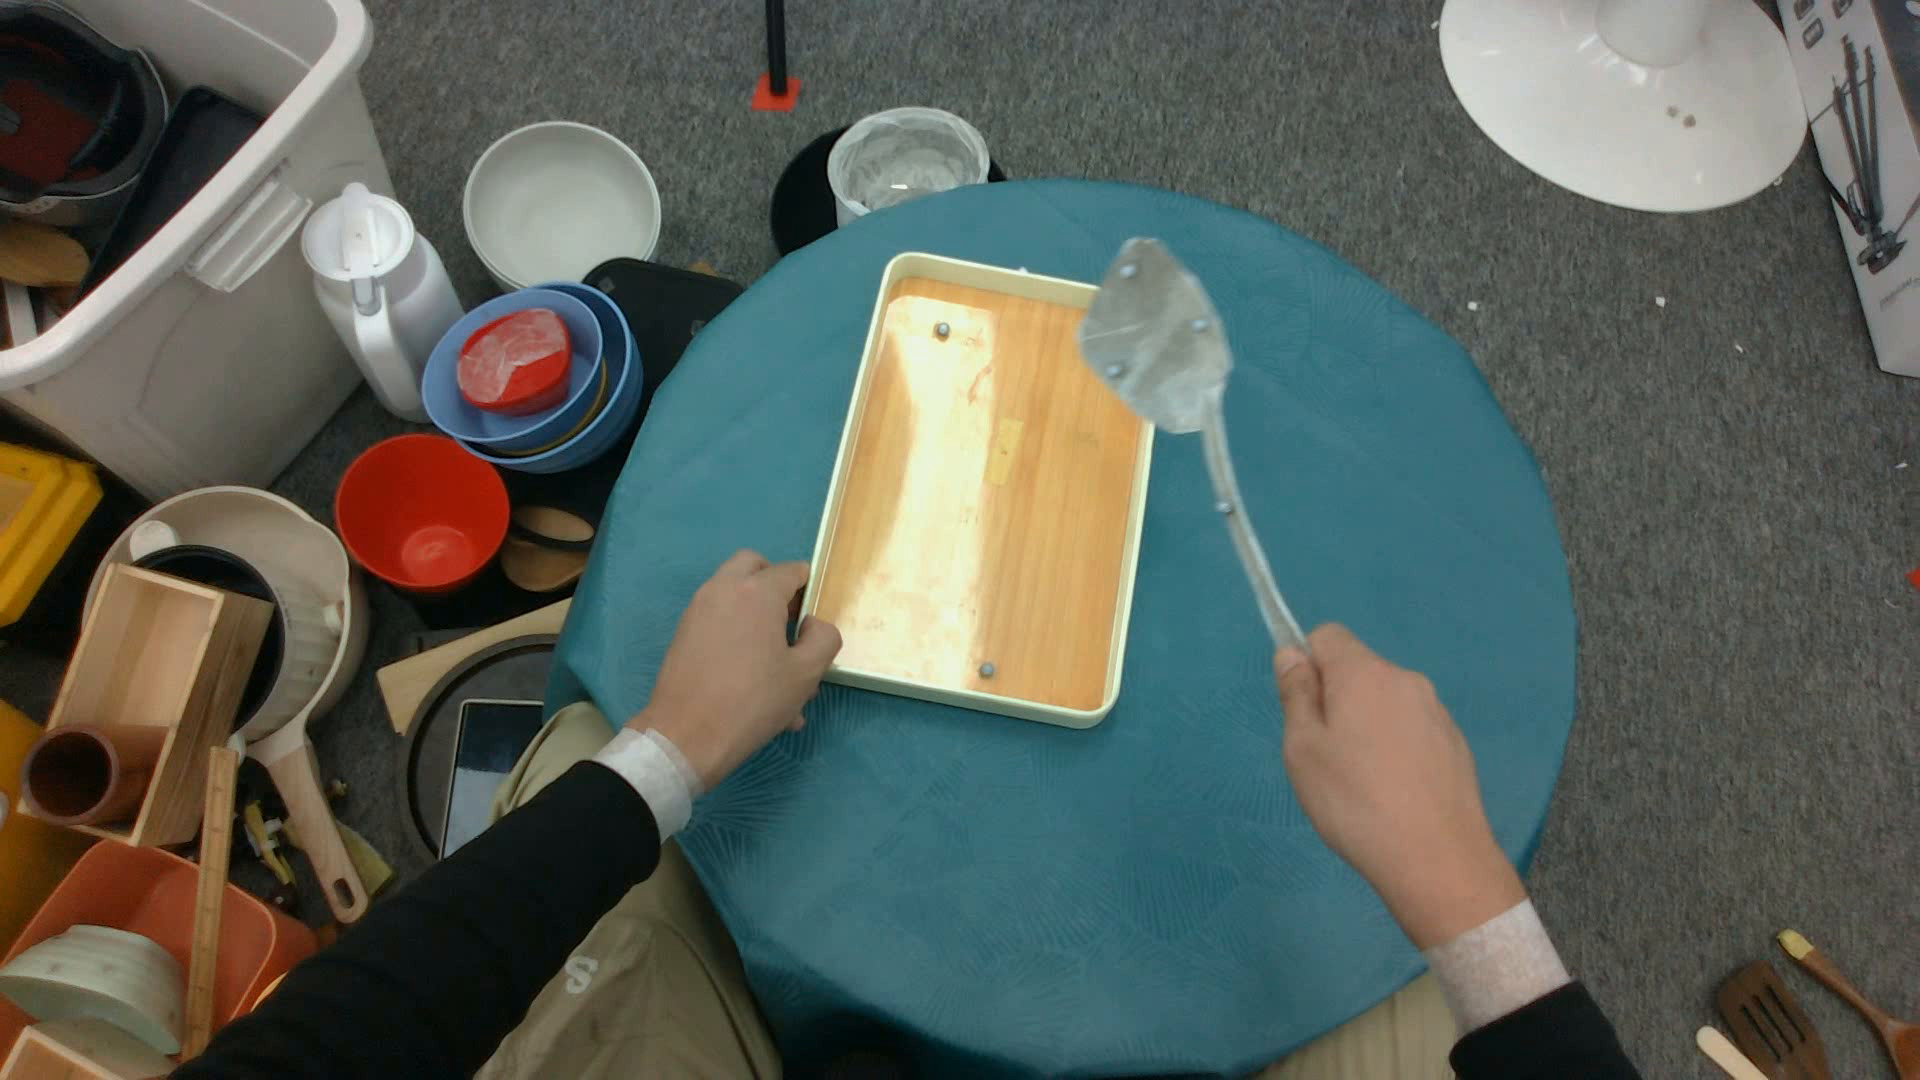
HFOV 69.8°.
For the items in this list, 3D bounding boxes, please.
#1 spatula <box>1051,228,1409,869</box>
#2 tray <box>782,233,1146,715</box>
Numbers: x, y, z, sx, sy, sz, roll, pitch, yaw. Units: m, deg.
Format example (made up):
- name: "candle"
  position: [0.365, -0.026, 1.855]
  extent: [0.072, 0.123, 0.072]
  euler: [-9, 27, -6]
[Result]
- name: "spatula"
  position: [0.137, -0.003, 0.706]
  extent: [0.045, 0.098, 0.366]
  euler: [-5, 59, -26]
- name: "tray"
  position: [0.014, -0.050, 0.853]
  extent: [0.191, 0.027, 0.301]
  euler: [11, 64, 0]
